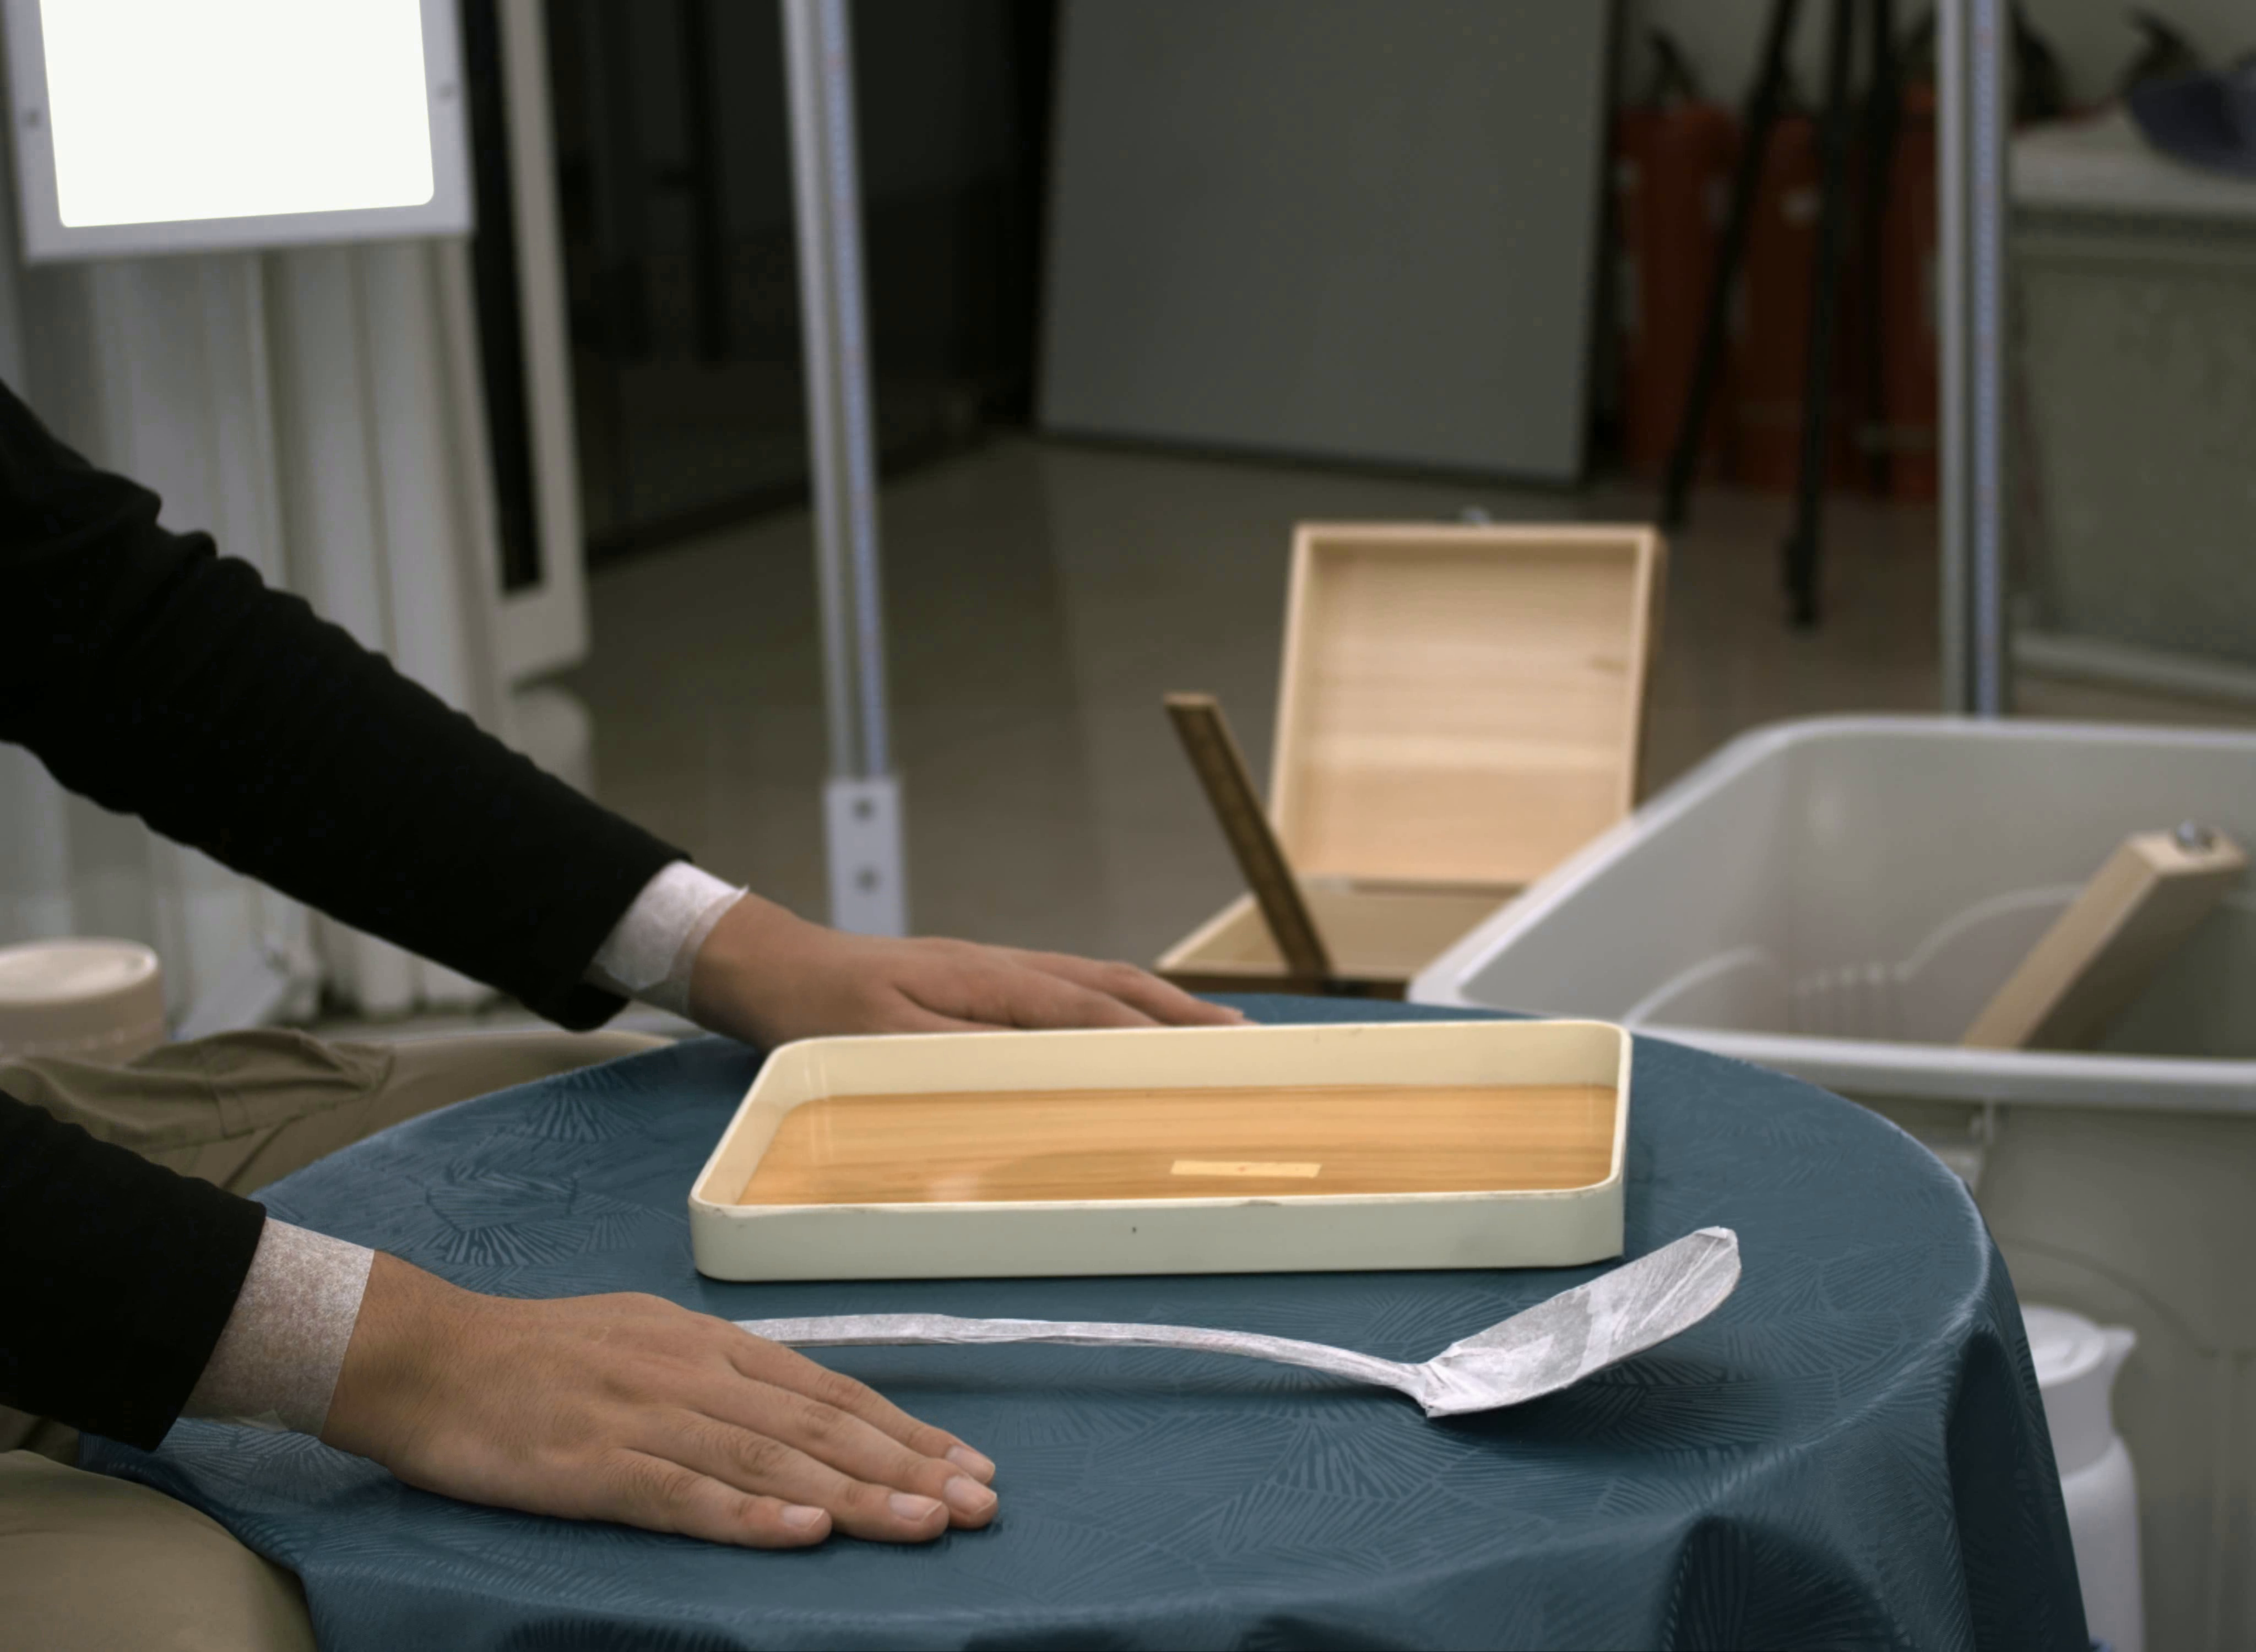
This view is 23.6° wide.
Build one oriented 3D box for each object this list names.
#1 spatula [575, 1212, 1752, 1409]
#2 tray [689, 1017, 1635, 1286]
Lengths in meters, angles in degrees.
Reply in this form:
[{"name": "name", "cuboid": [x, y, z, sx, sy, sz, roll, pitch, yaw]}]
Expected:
[{"name": "spatula", "cuboid": [0.003, 0.146, 1.587, 0.363, 0.045, 0.098, -1, 15, 14]}, {"name": "tray", "cuboid": [0.017, 0.106, 1.770, 0.298, 0.028, 0.191, -2, 14, 9]}]
